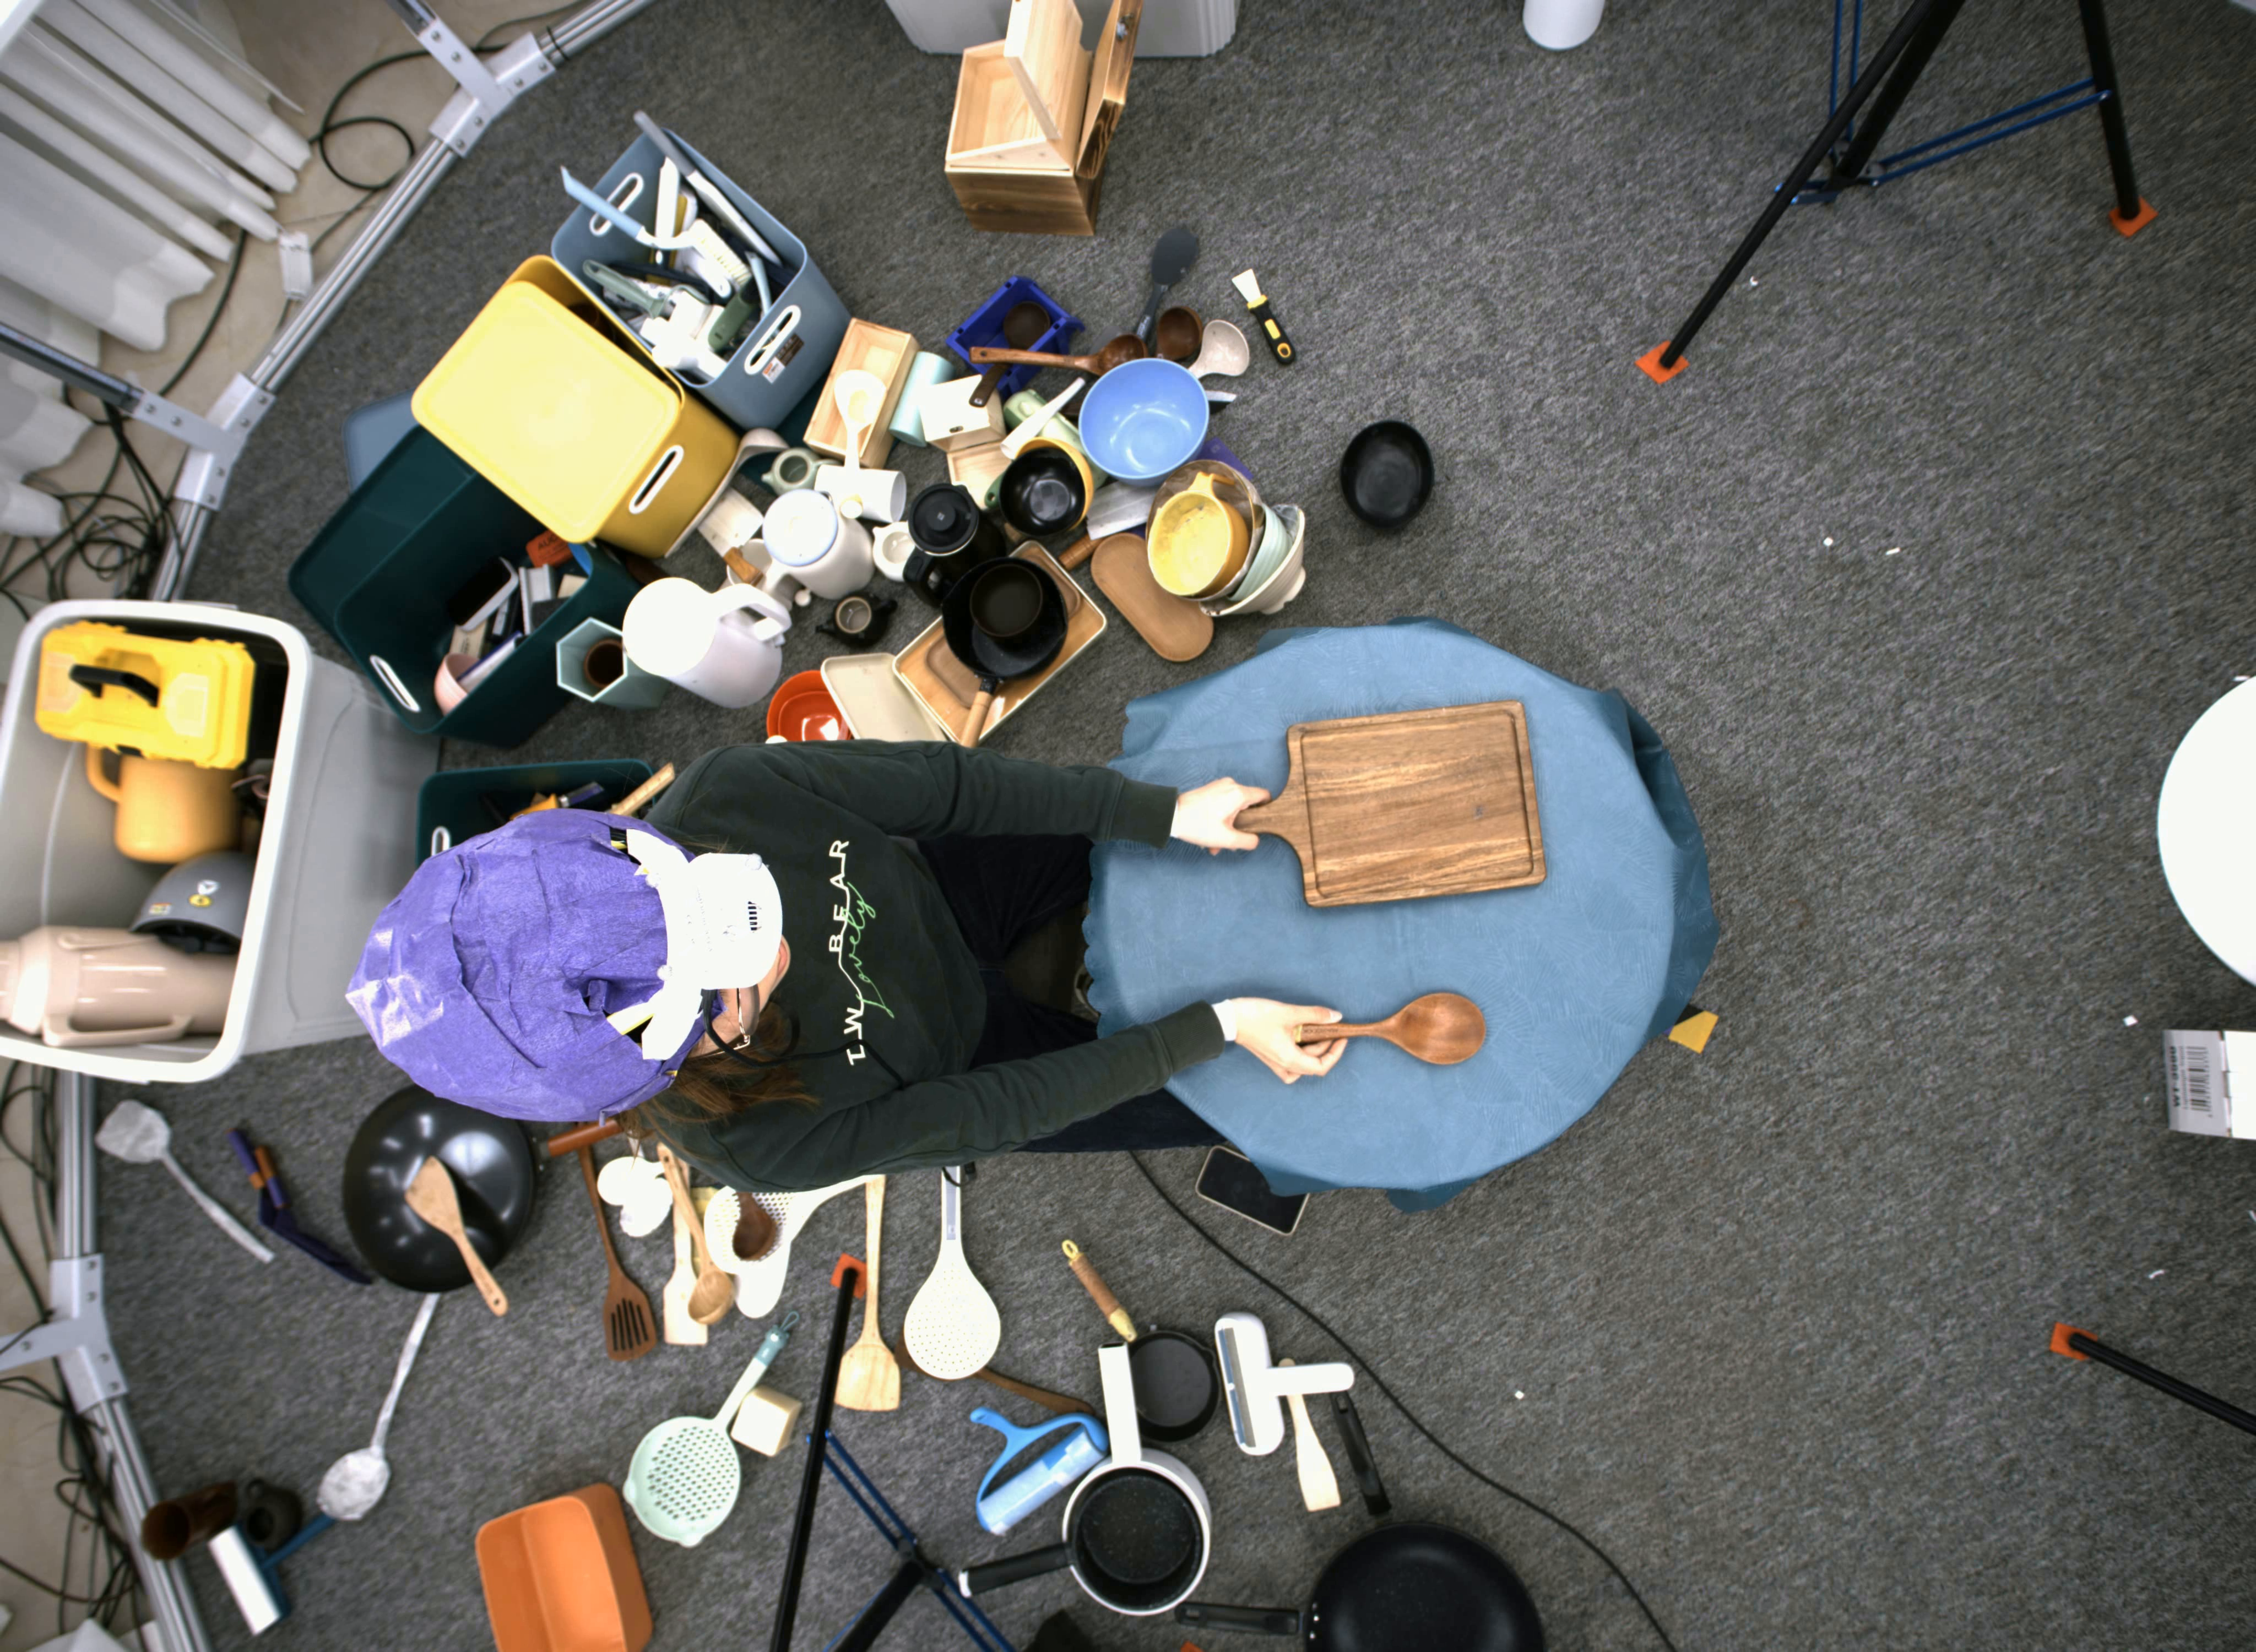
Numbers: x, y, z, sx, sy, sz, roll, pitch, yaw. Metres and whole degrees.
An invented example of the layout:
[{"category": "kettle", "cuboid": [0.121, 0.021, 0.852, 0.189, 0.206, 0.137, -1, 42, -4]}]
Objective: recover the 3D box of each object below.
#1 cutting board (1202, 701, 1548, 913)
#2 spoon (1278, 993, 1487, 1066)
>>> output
[{"category": "cutting board", "cuboid": [0.253, -0.016, 1.449, 0.353, 0.023, 0.200, -6, 87, 5]}, {"category": "spoon", "cuboid": [0.264, 0.211, 1.437, 0.216, 0.017, 0.075, -1, 87, 2]}]
